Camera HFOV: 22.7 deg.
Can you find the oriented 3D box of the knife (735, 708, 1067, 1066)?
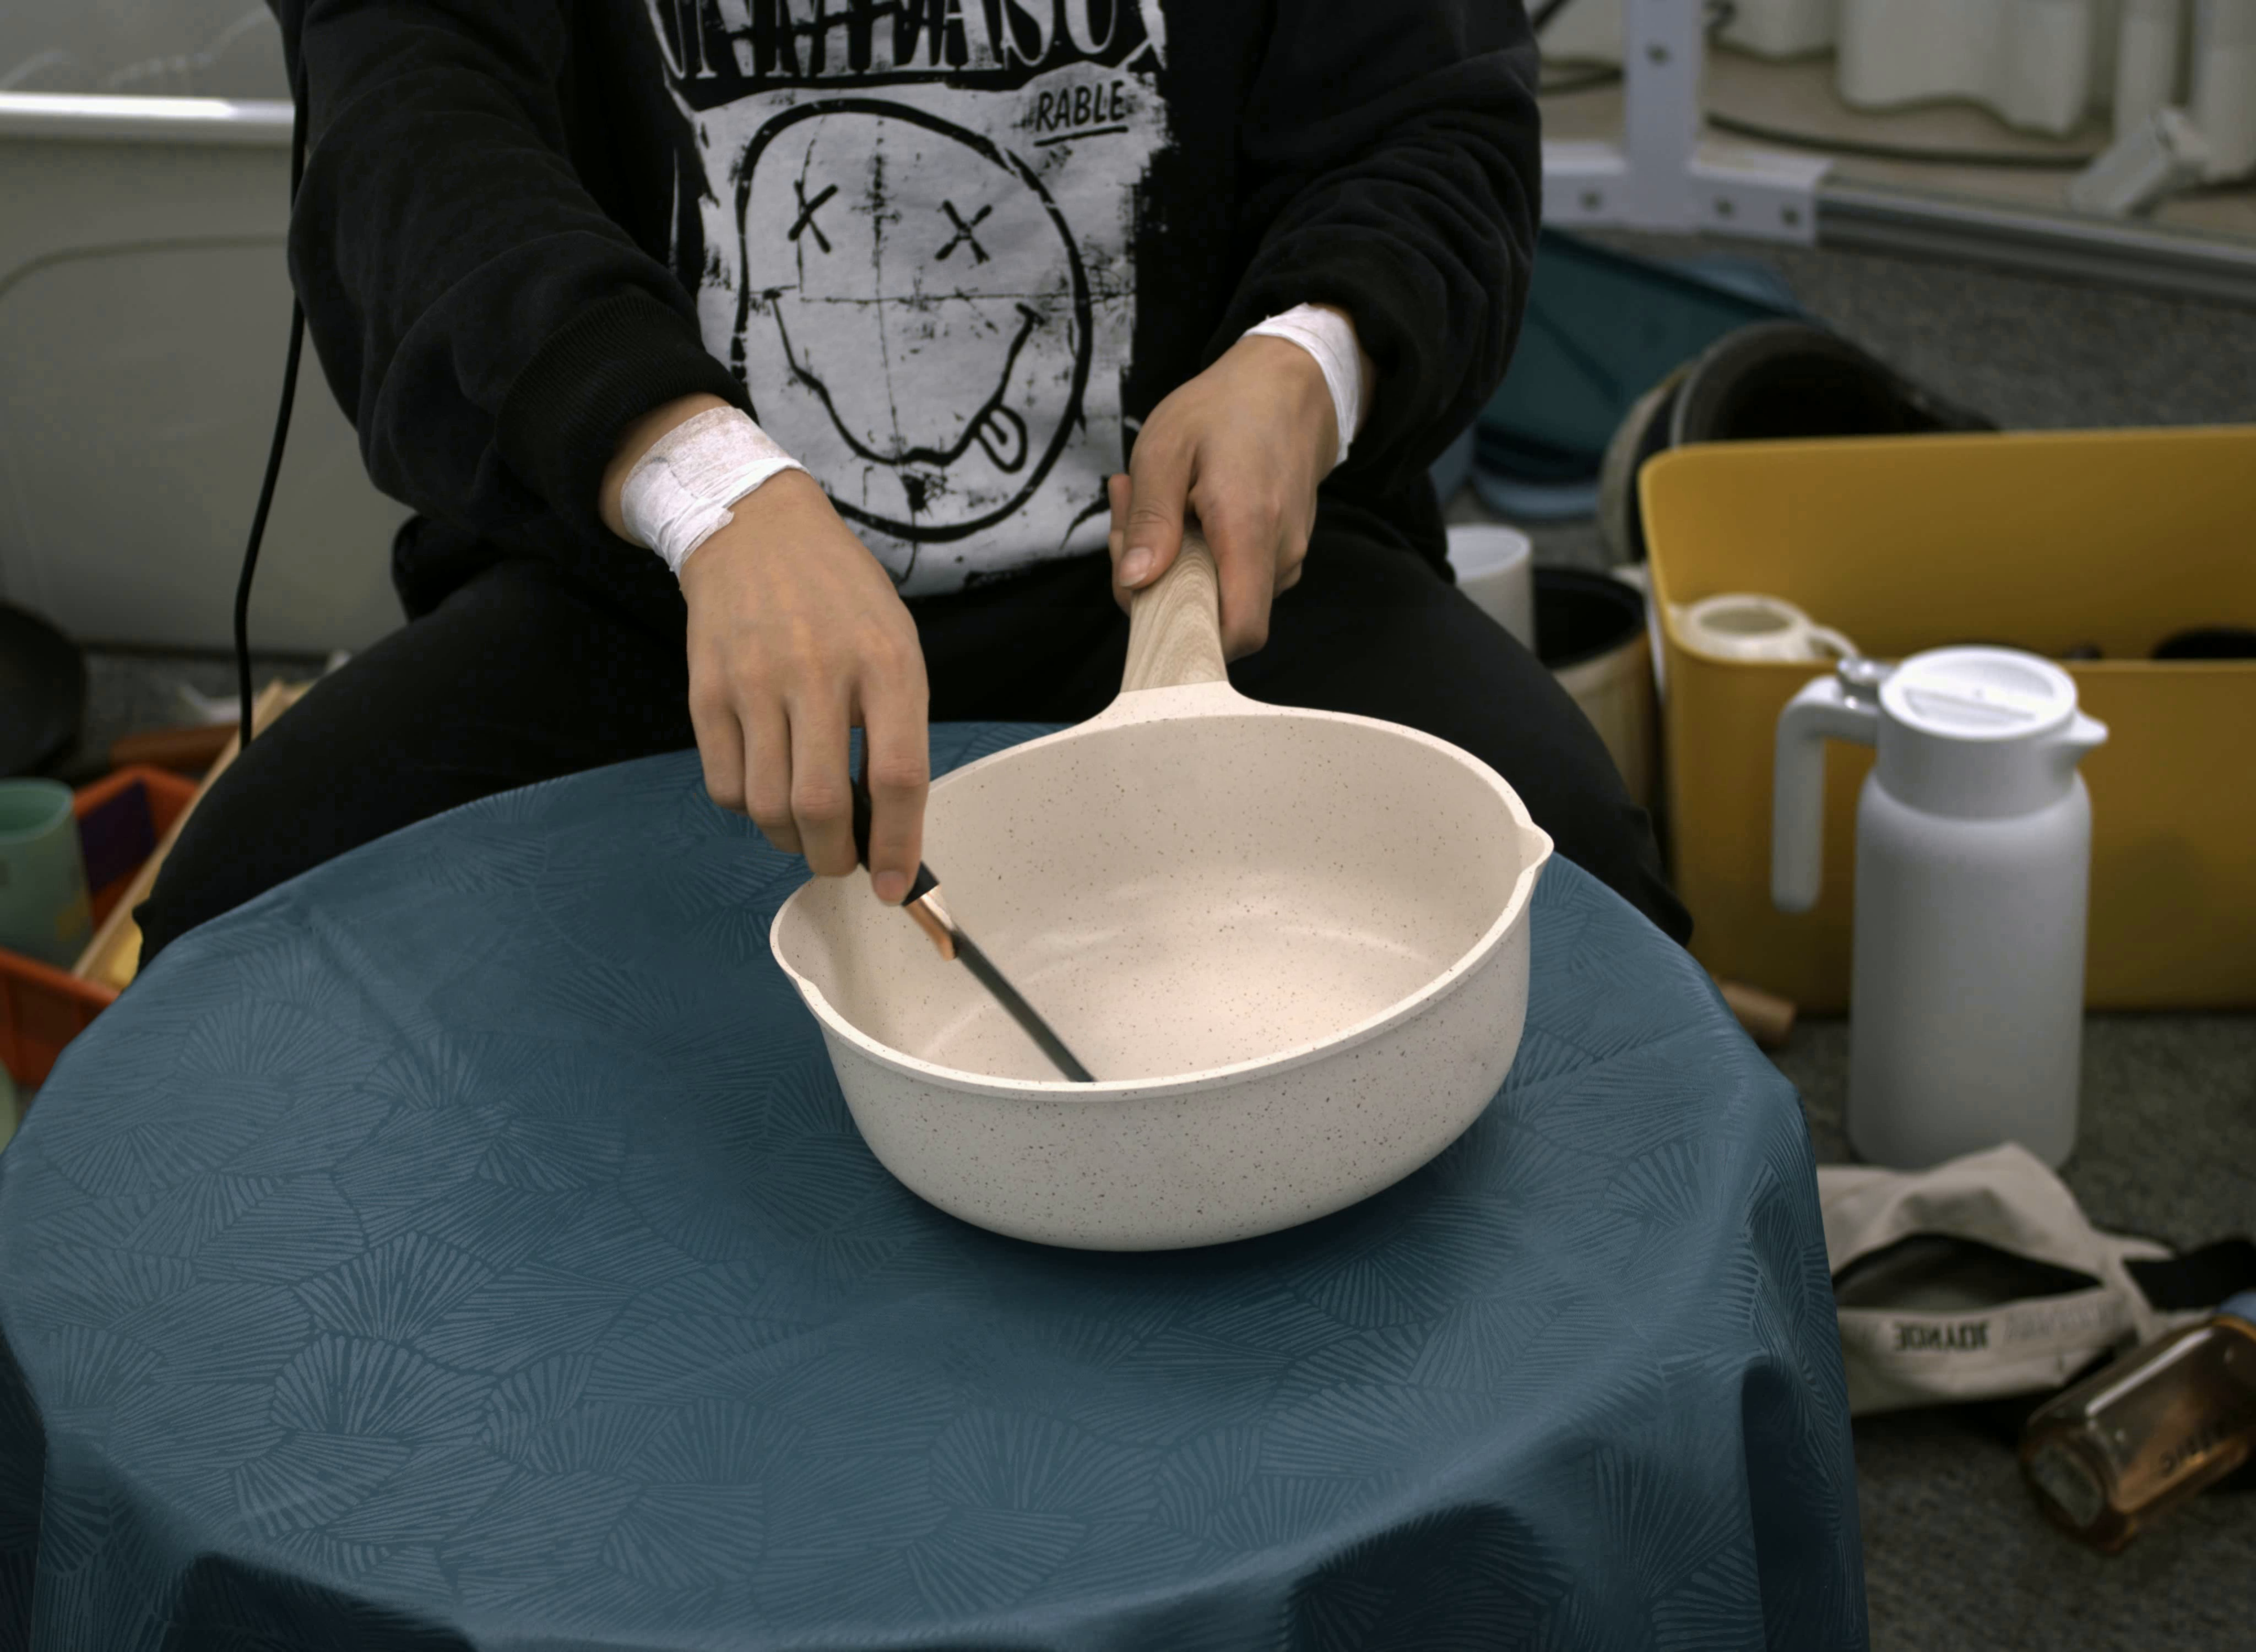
[{"bbox_3d":[-0.059,0.043,1.879,0.017,0.026,0.227,-30,67,-30],"label":"knife"}]

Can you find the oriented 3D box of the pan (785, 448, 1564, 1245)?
[{"bbox_3d":[0.022,0.003,1.960,0.262,0.101,0.441,-8,27,5],"label":"pan"}]
